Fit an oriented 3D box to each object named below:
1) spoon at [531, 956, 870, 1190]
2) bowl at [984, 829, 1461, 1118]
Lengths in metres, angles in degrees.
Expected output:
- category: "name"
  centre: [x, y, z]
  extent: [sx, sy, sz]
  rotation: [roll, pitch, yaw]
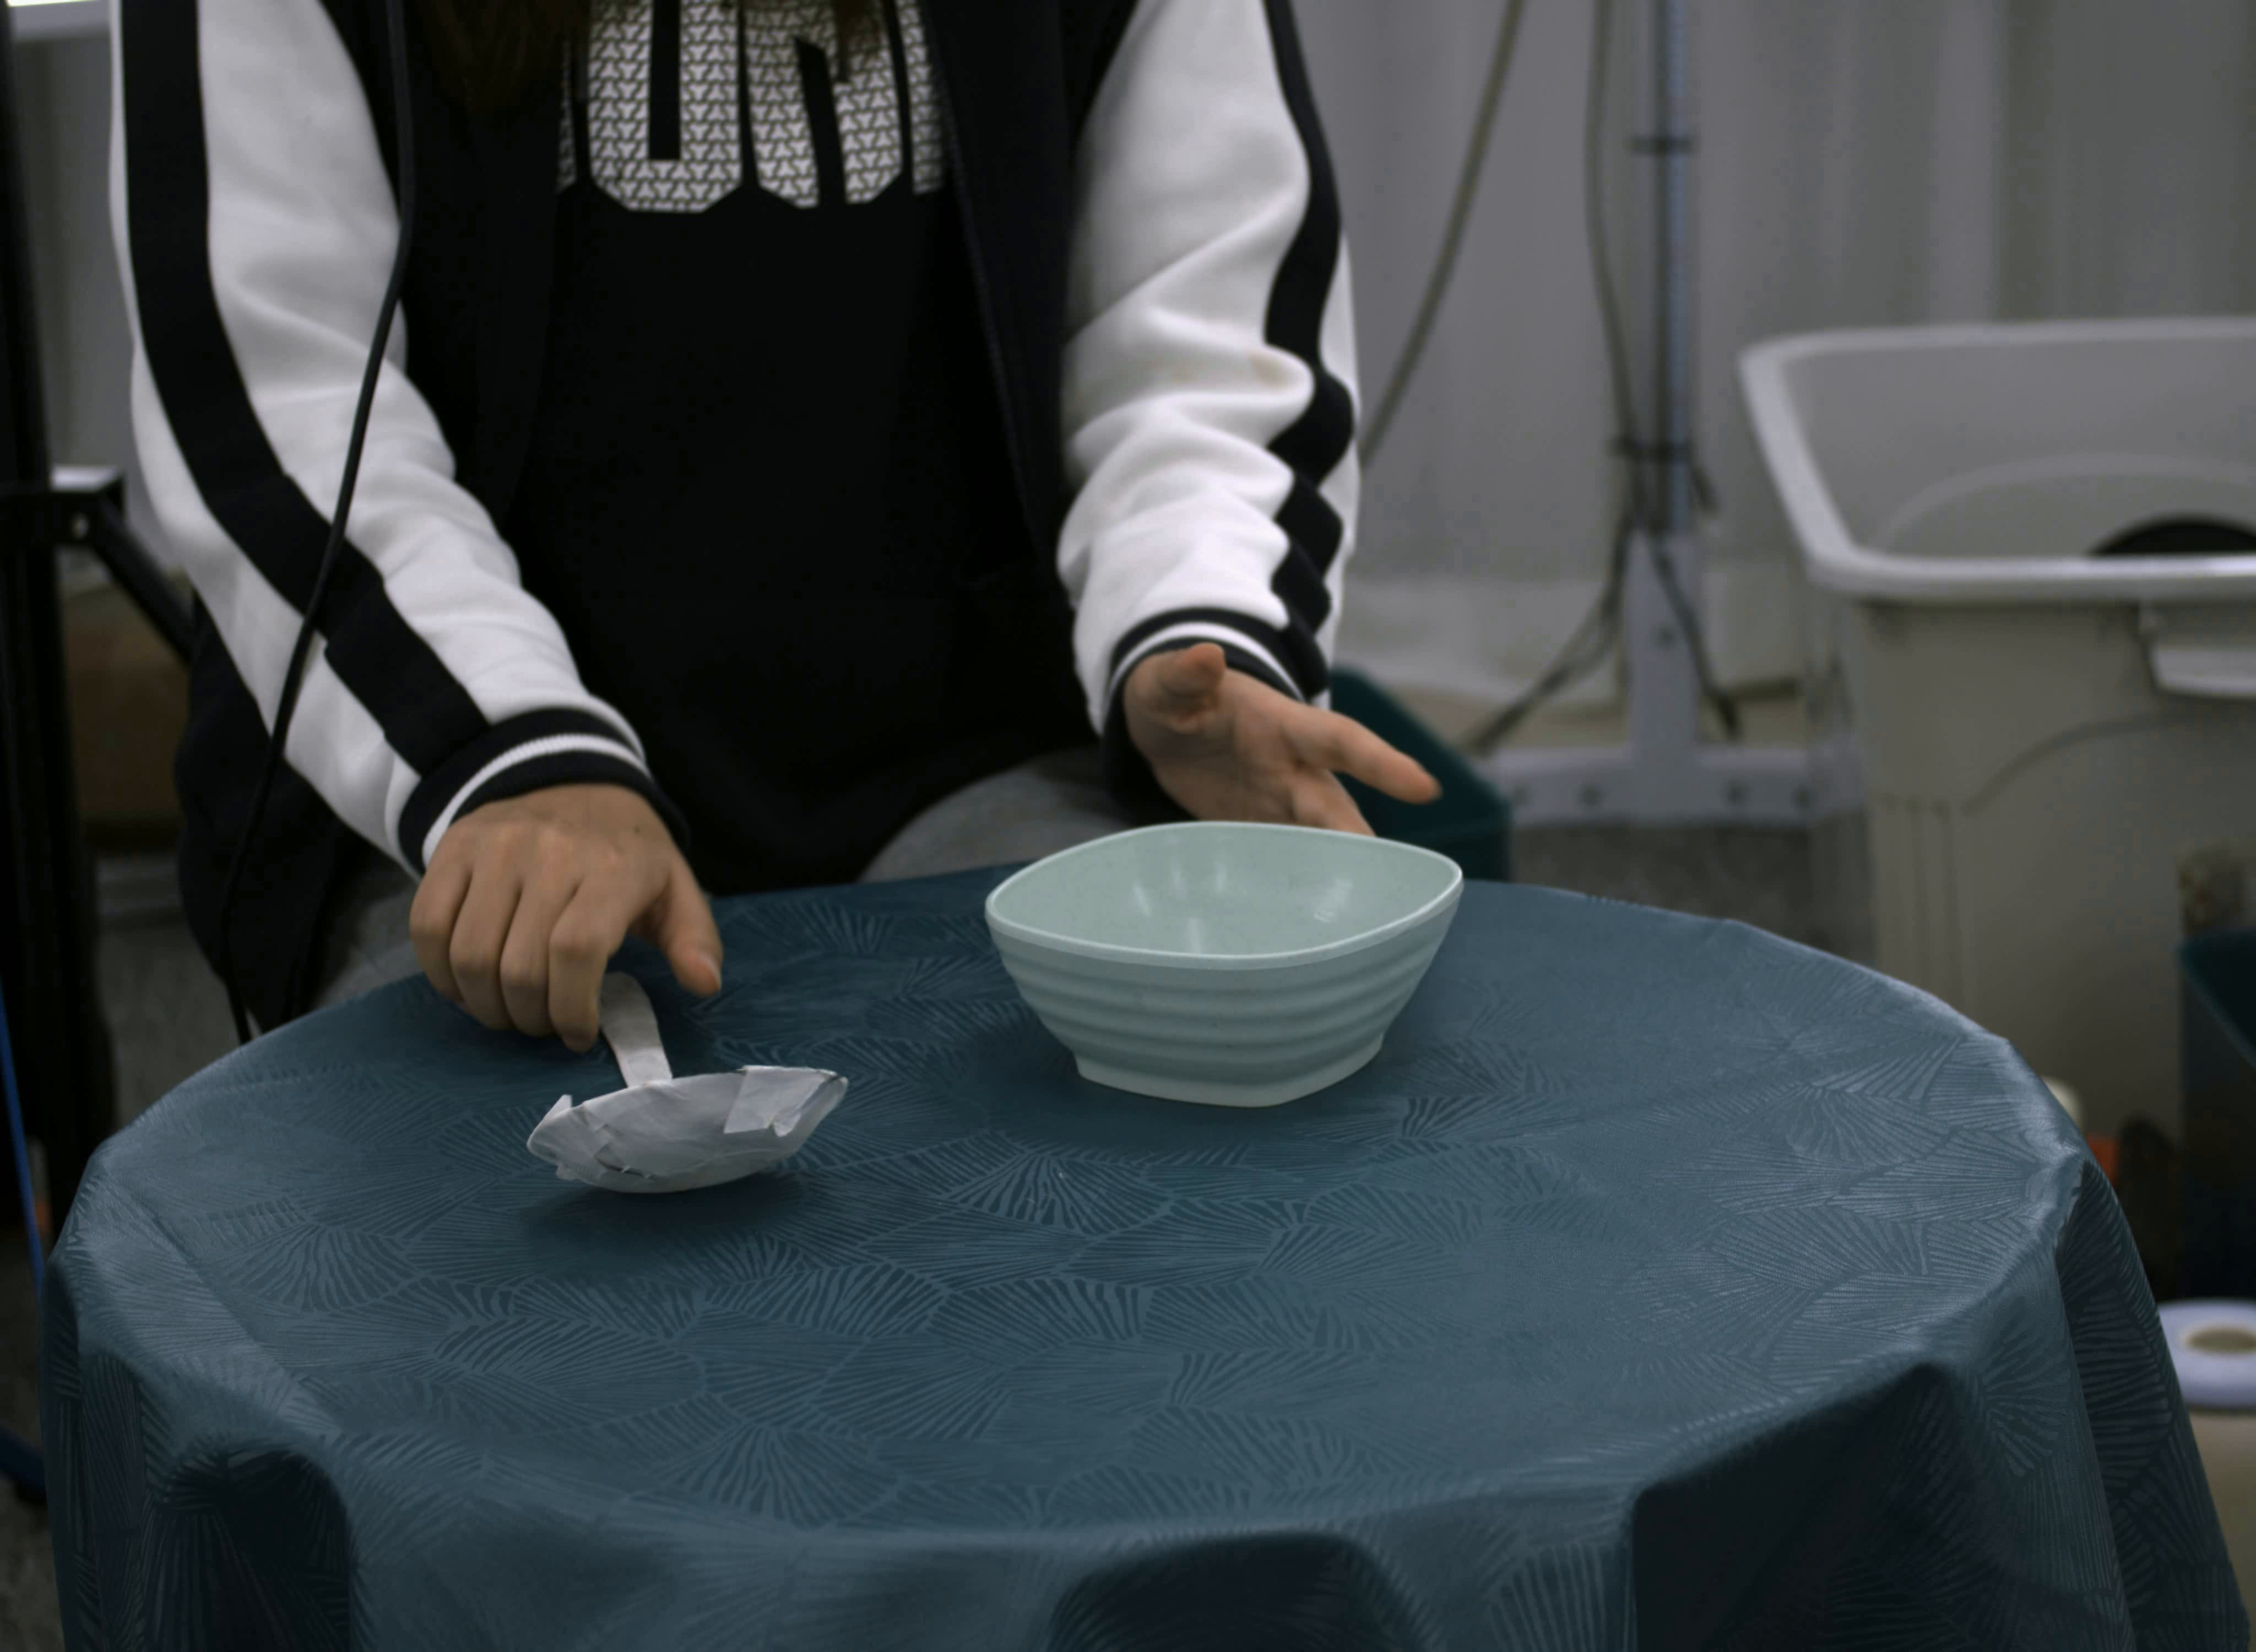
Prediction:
- category: "spoon"
  centre: [-0.139, 0.058, 1.648]
  extent: [0.099, 0.059, 0.280]
  rotation: [-2, 16, -8]
- category: "bowl"
  centre: [0.031, 0.049, 1.666]
  extent: [0.150, 0.058, 0.152]
  rotation: [-3, 16, -1]
